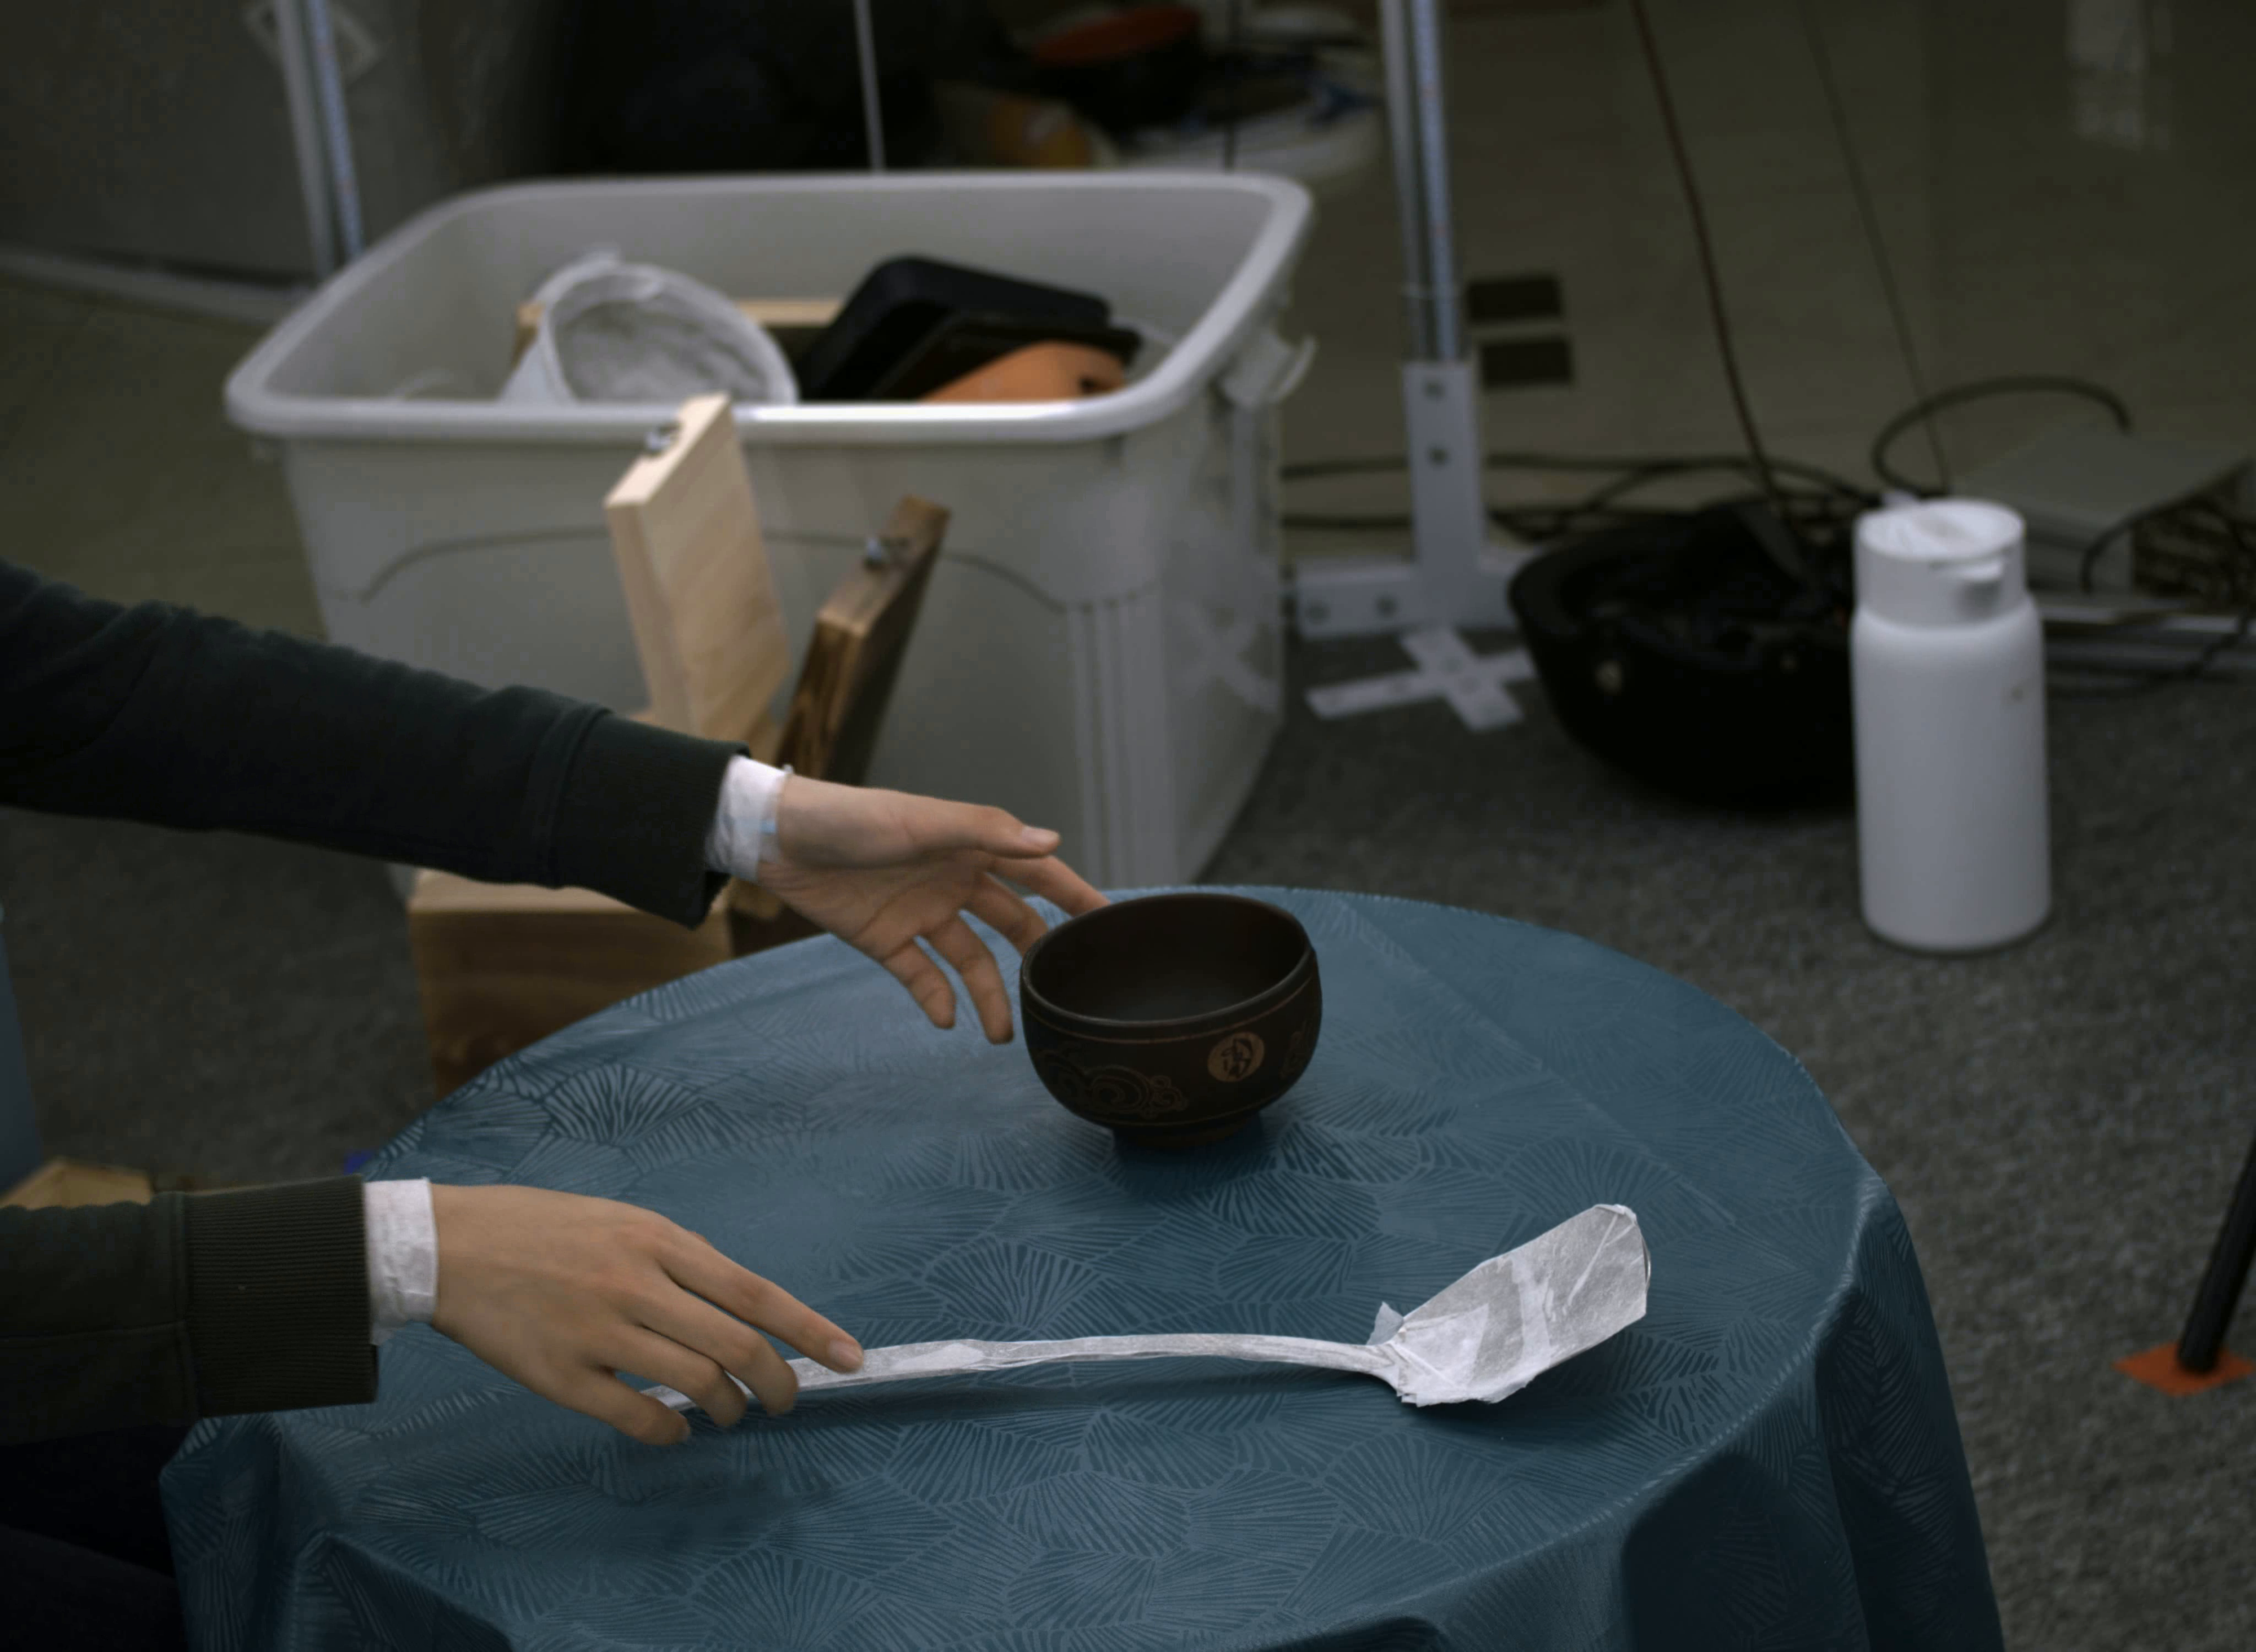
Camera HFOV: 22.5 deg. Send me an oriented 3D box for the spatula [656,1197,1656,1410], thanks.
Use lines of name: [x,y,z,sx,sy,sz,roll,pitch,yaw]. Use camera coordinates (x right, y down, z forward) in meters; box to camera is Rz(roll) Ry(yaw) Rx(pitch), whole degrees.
spatula: [0.006,0.180,2.017,0.364,0.045,0.097,-3,27,6]

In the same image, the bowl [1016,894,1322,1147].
bowl: [0.018,0.081,2.188,0.118,0.071,0.116,-6,23,3]
